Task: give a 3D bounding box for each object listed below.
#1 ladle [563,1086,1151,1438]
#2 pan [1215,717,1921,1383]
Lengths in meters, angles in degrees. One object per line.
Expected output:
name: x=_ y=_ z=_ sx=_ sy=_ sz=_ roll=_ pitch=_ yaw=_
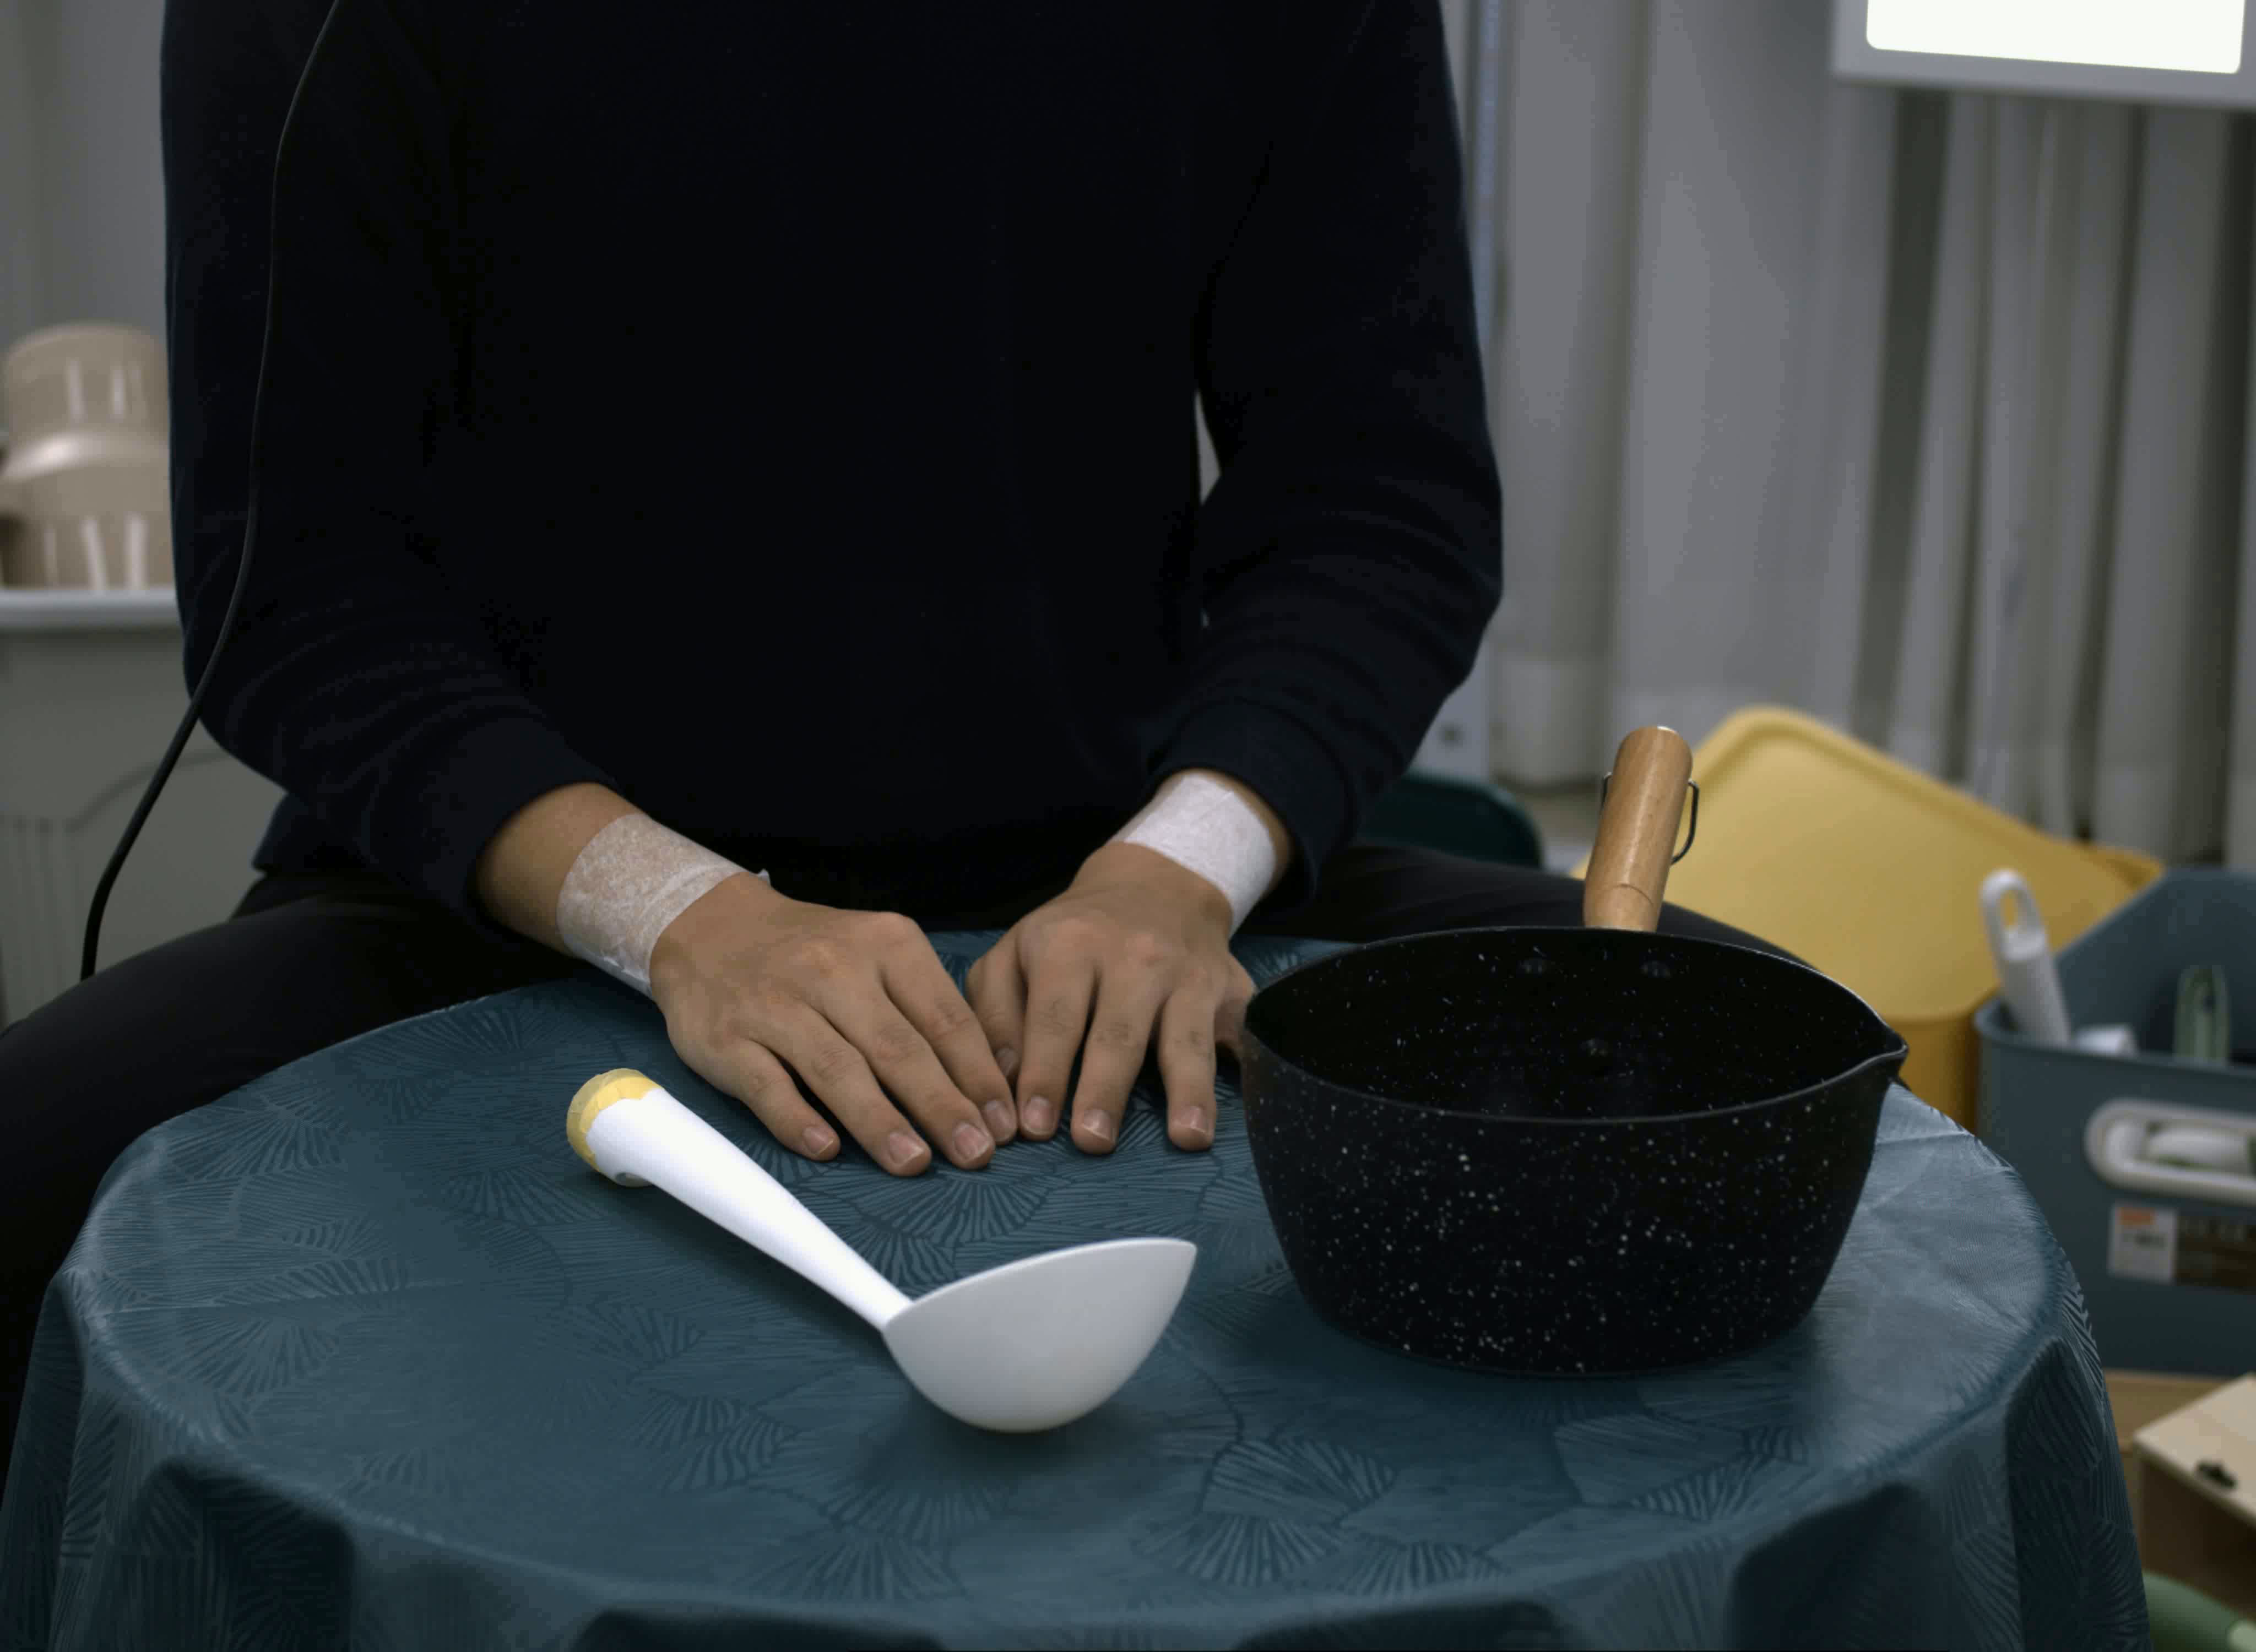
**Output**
ladle: x=-0.091 y=0.110 z=1.509 sx=0.090 sy=0.070 sz=0.289 roll=-16 pitch=21 yaw=-27
pan: x=0.139 y=0.062 z=1.603 sx=0.206 sy=0.109 sz=0.342 roll=2 pitch=17 yaw=10
